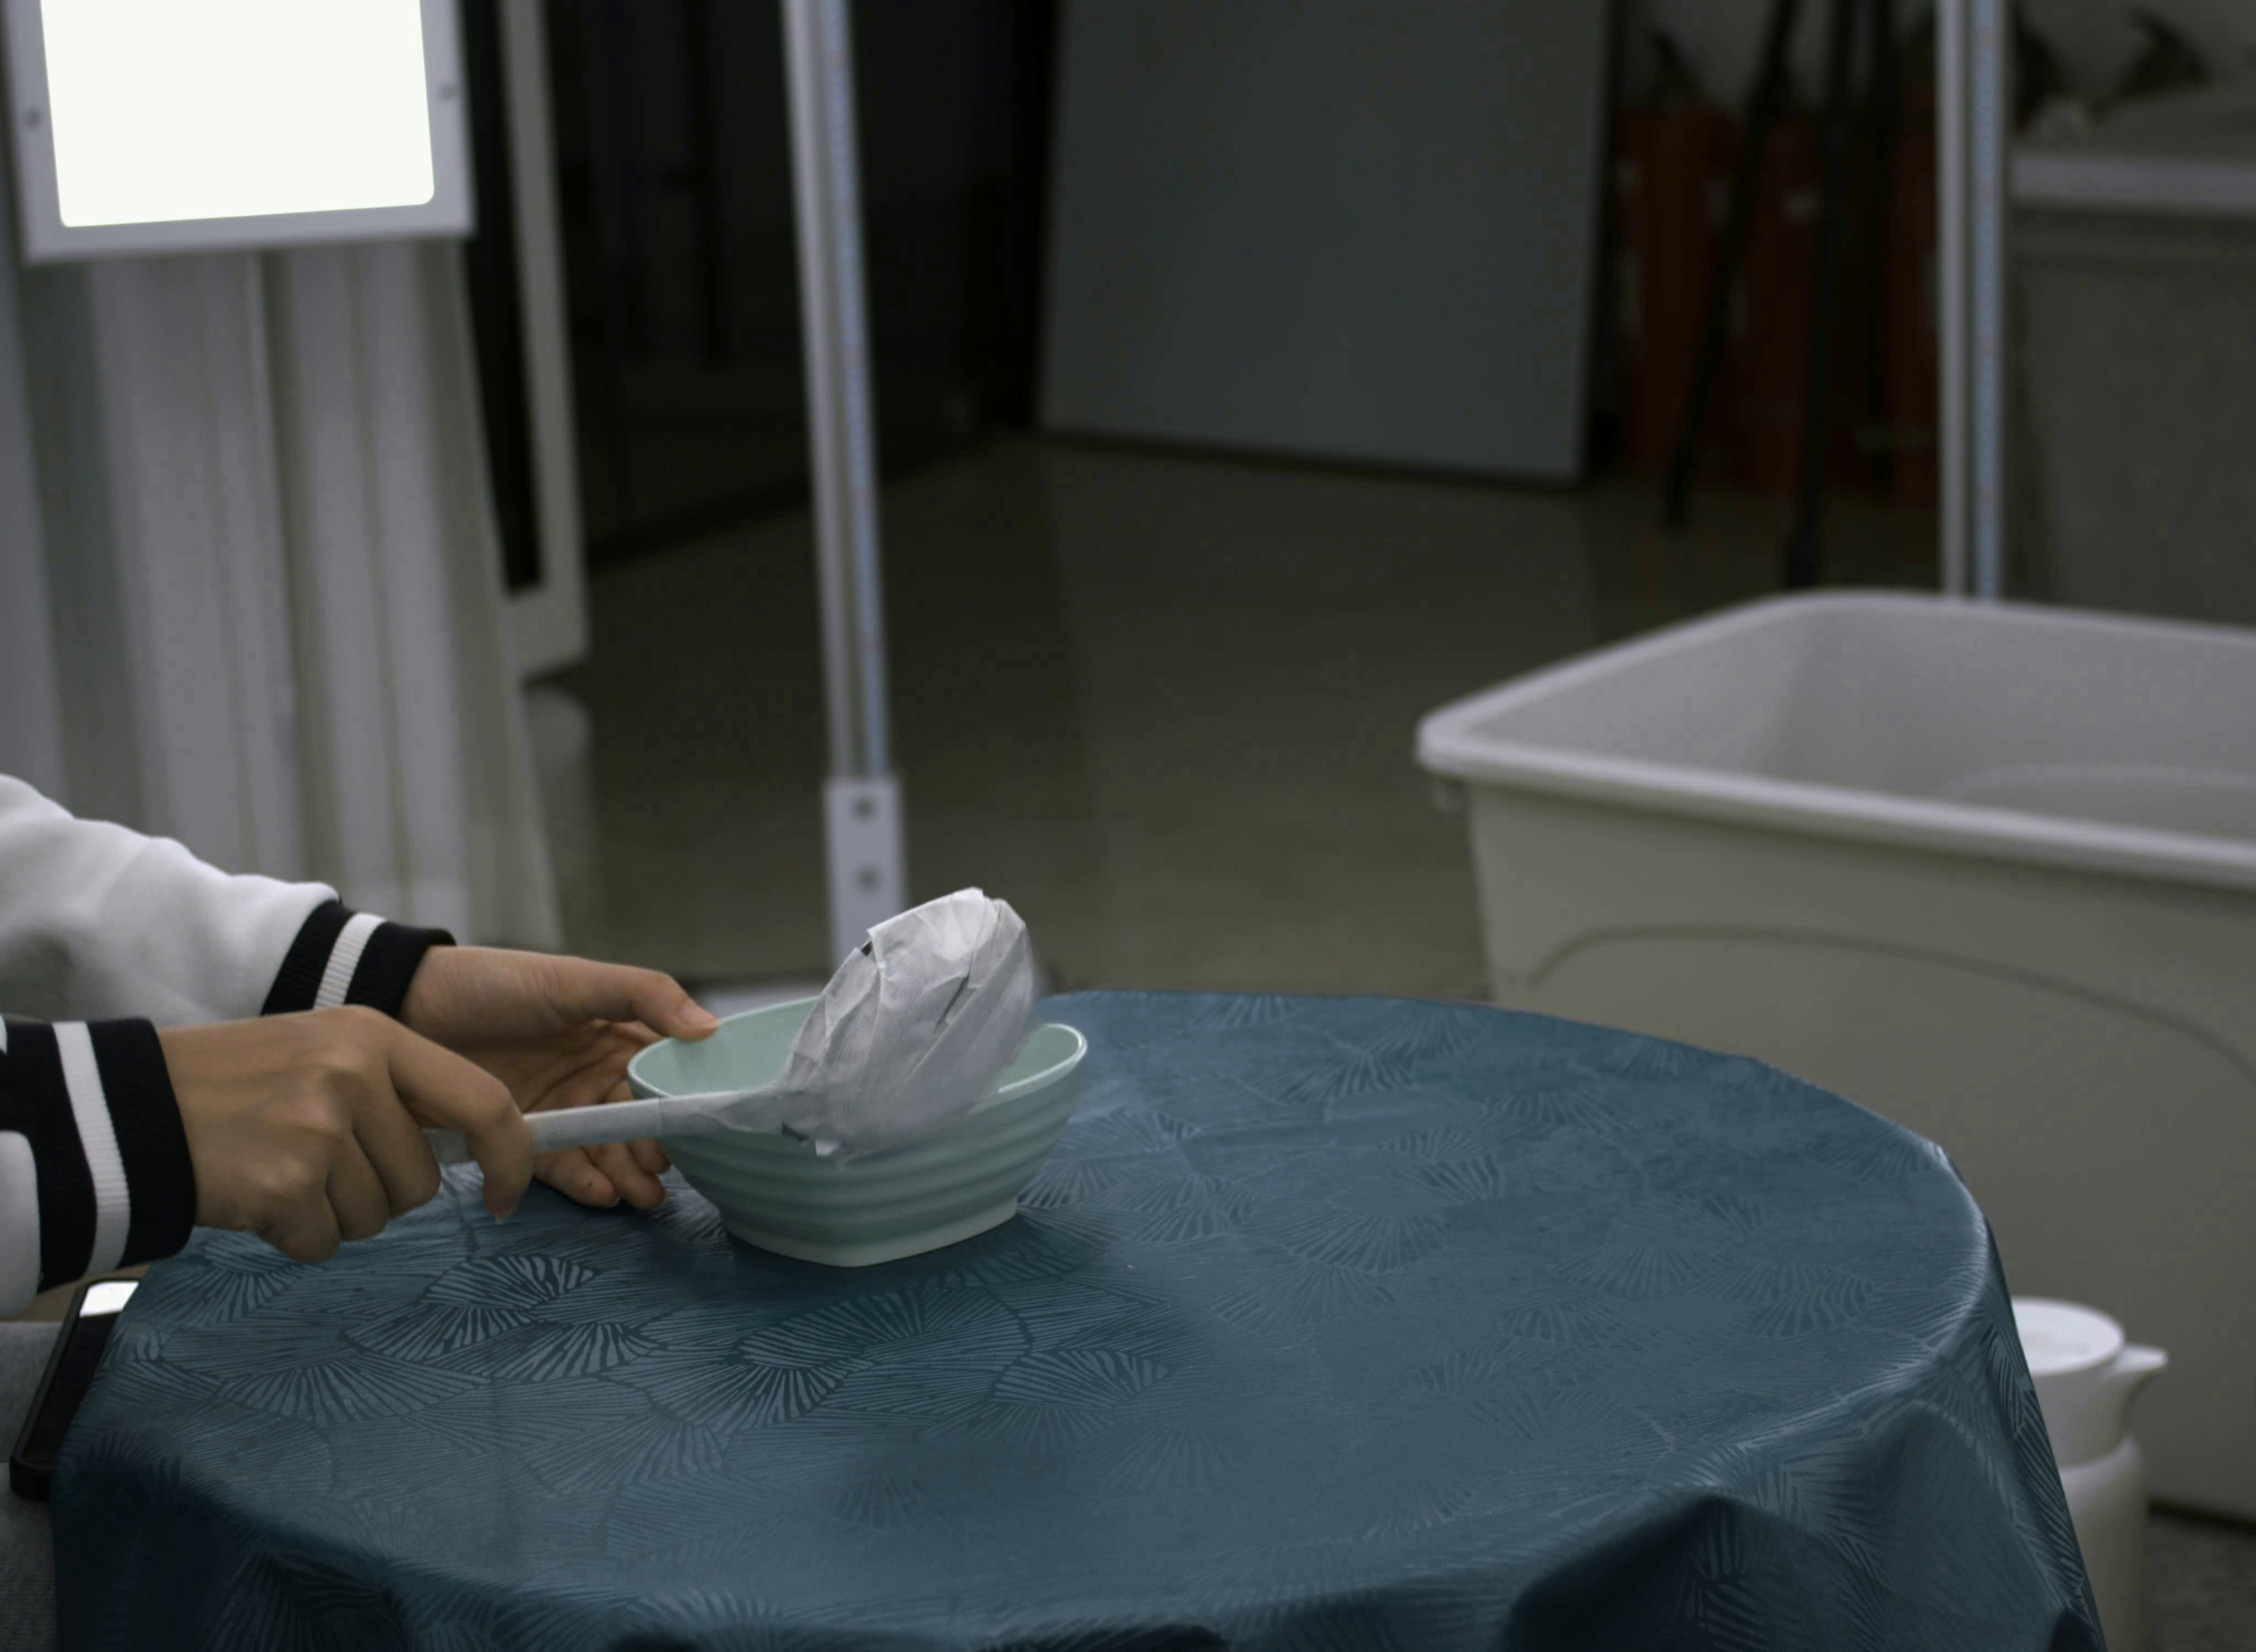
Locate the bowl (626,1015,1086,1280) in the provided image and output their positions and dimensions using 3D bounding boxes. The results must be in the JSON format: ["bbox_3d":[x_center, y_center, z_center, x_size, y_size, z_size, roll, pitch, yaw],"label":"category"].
[{"bbox_3d":[-0.086,0.105,1.752,0.149,0.059,0.151,-4,13,0],"label":"bowl"}]

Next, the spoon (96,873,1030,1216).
[{"bbox_3d":[-0.161,0.074,1.576,0.274,0.101,0.060,-8,37,1],"label":"spoon"}]
